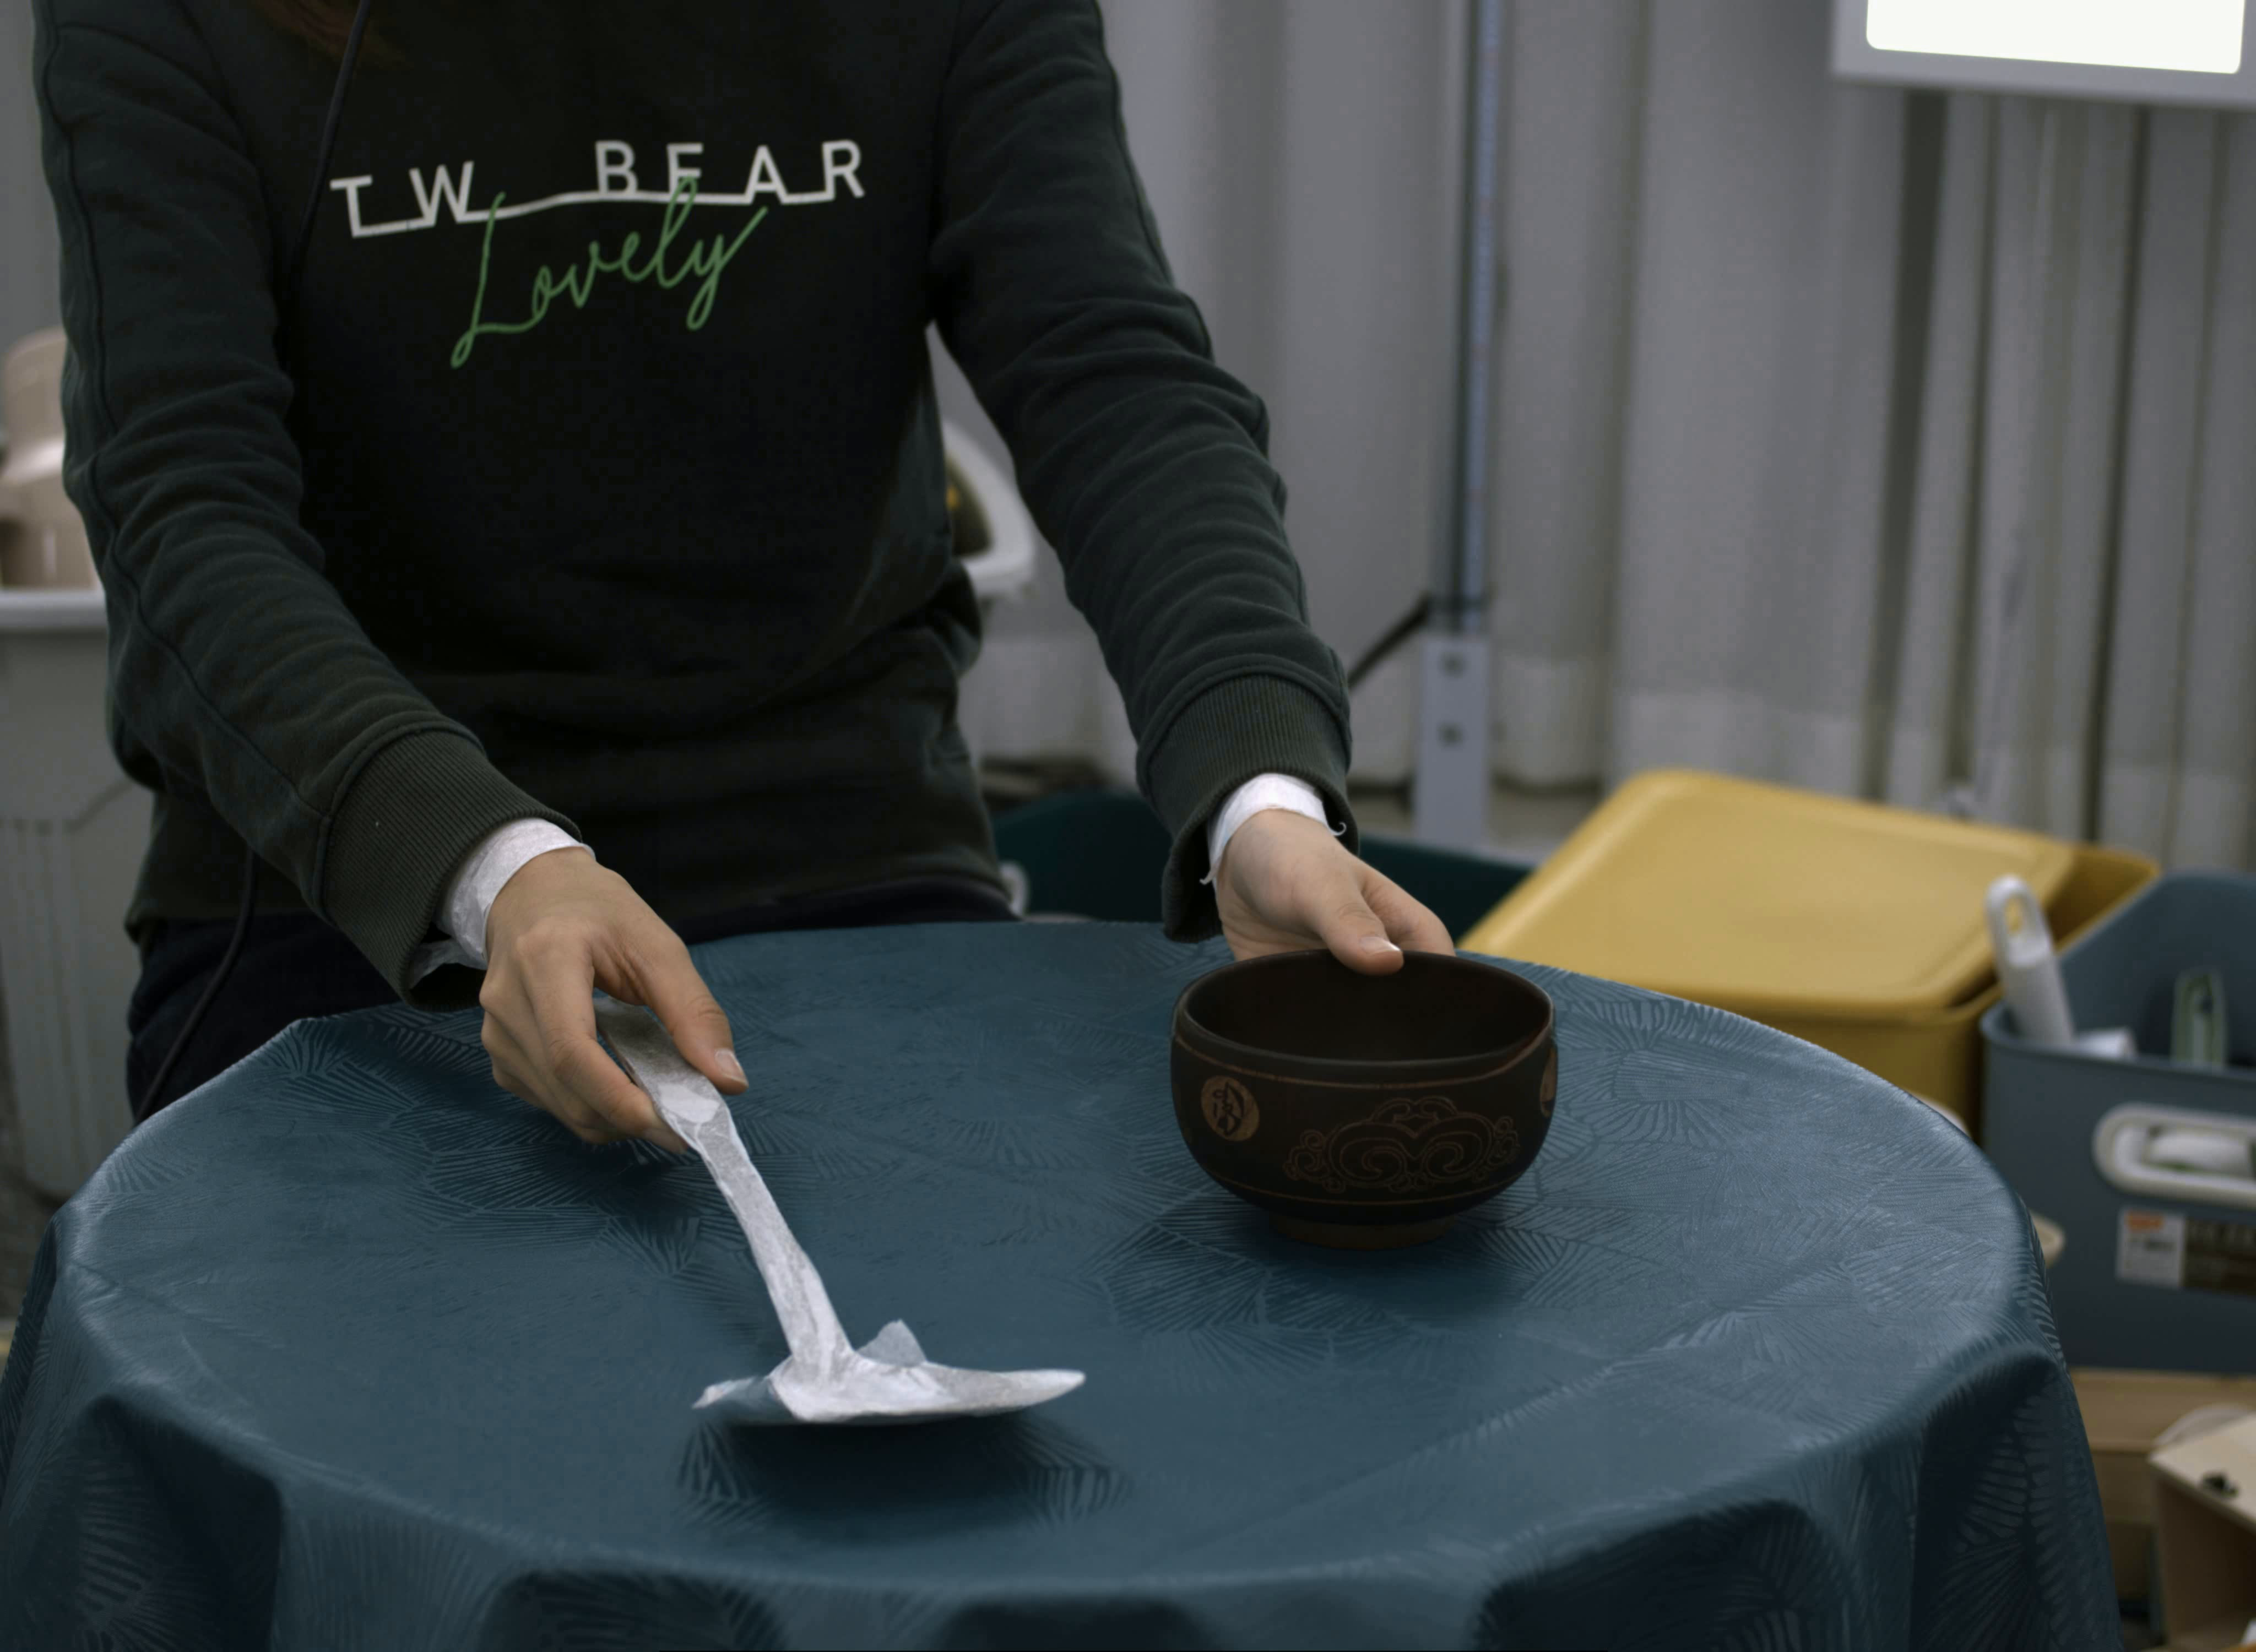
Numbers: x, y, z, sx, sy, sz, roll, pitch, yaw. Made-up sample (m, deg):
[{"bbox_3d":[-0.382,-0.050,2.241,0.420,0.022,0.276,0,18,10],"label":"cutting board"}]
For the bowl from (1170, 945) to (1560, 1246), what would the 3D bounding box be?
[{"bbox_3d":[0.071,0.085,1.593,0.117,0.070,0.117,2,16,0],"label":"bowl"}]

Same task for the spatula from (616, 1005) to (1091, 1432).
[{"bbox_3d":[-0.105,0.106,1.535,0.099,0.045,0.360,-3,22,-18],"label":"spatula"}]
